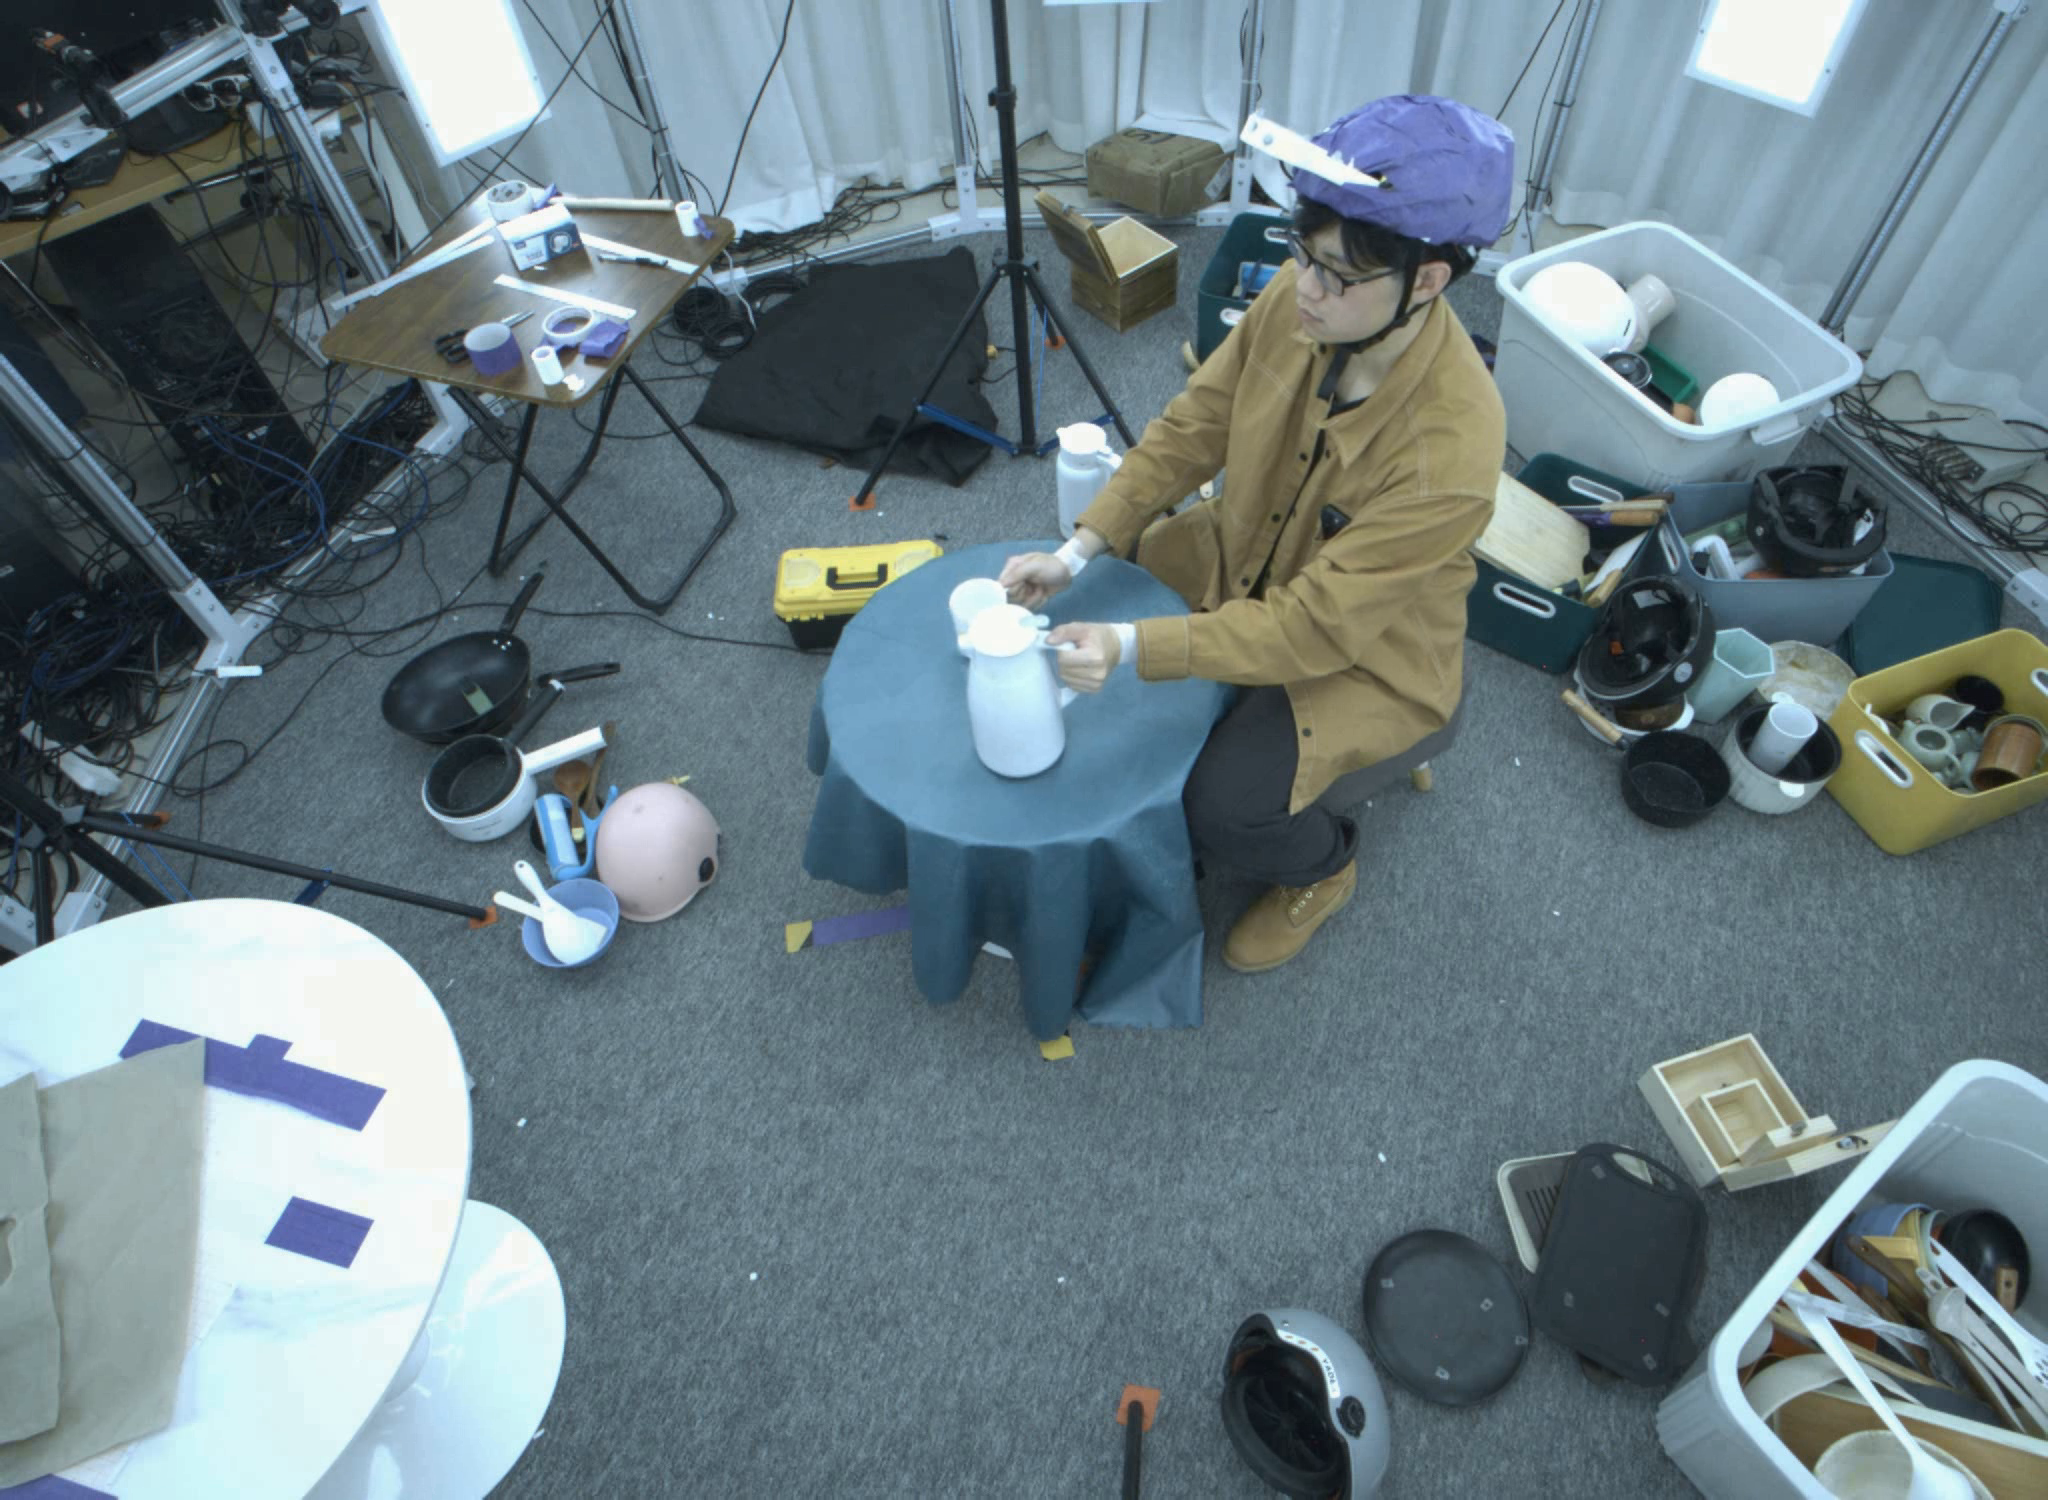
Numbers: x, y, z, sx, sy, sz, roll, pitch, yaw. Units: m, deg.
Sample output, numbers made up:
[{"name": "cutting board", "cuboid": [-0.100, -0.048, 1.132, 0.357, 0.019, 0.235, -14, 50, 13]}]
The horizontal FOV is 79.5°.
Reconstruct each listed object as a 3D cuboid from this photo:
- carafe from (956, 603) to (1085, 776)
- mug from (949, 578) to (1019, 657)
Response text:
[{"name": "carafe", "cuboid": [0.001, -0.092, 1.685, 0.168, 0.251, 0.131, -8, 53, 0]}, {"name": "mug", "cuboid": [-0.054, -0.206, 1.864, 0.083, 0.103, 0.119, 37, 67, 25]}]
